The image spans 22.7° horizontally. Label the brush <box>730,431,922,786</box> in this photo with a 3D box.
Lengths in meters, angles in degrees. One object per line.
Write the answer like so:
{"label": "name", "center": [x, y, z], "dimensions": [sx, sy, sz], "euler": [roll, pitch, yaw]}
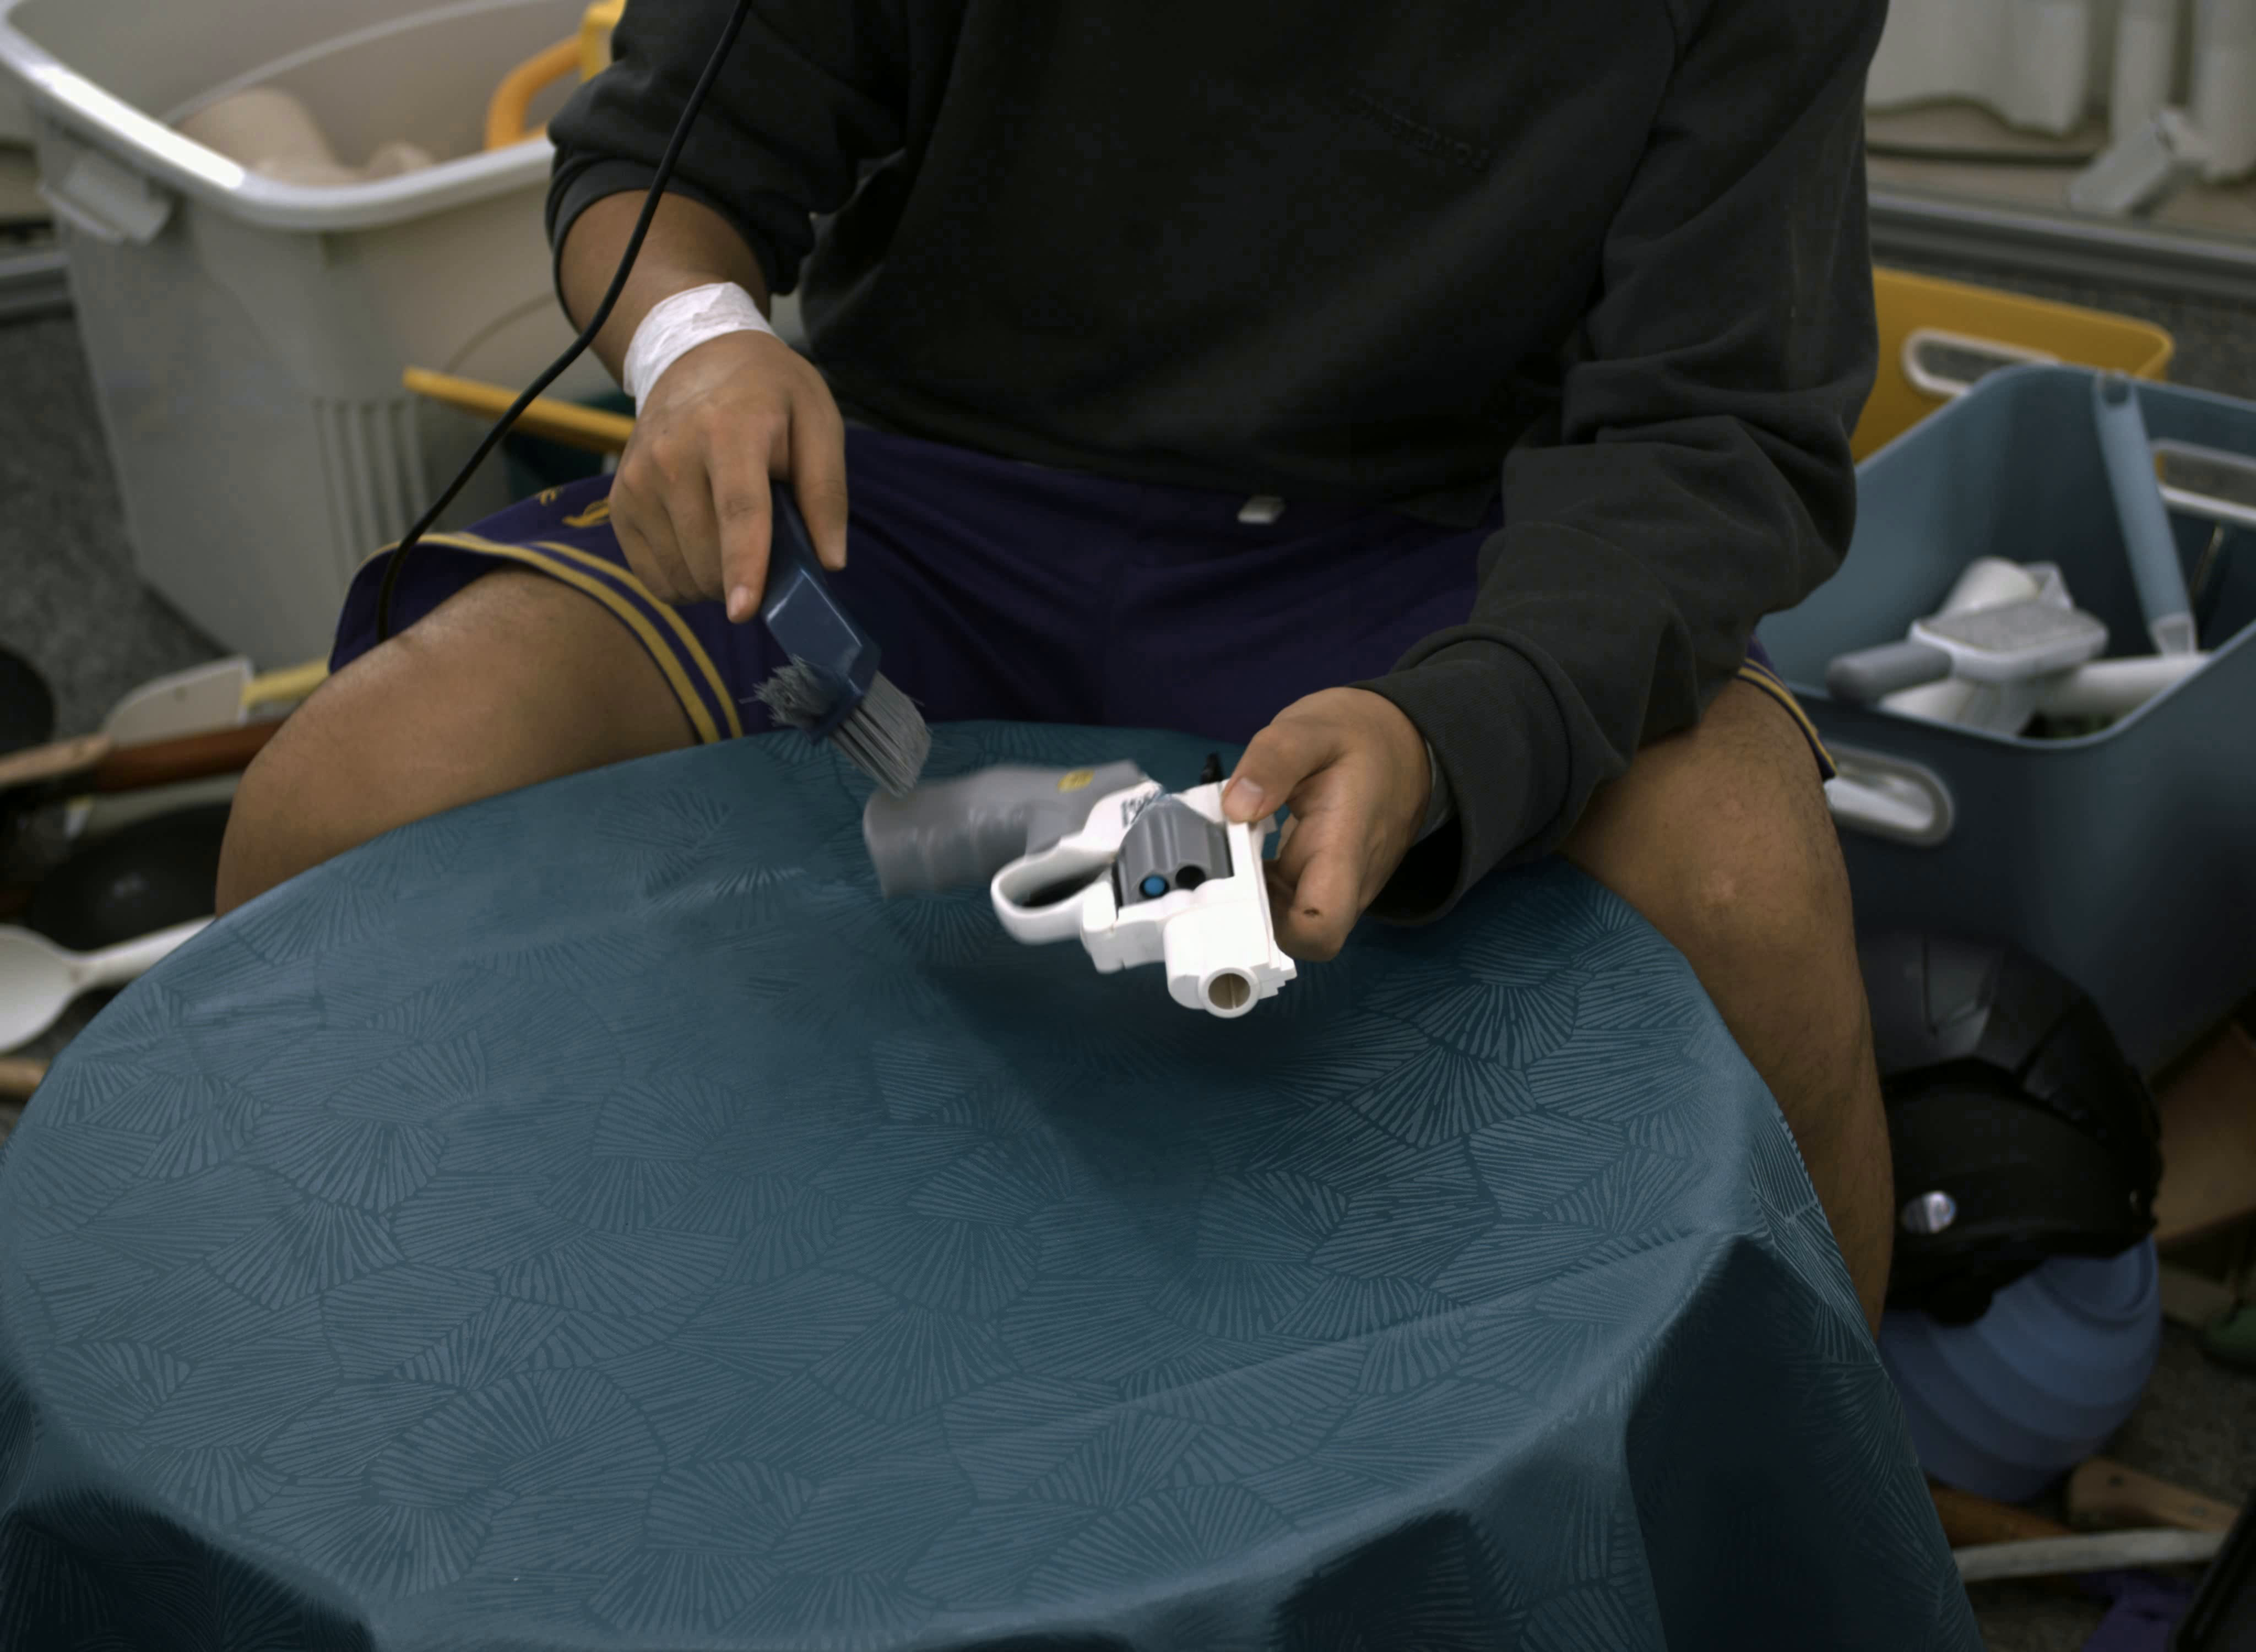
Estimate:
{"label": "brush", "center": [-0.124, -0.089, 2.012], "dimensions": [0.095, 0.033, 0.276], "euler": [36, 13, -29]}

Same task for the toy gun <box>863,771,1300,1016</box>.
{"label": "toy gun", "center": [-0.017, 0.025, 1.903], "dimensions": [0.141, 0.038, 0.211], "euler": [-18, 23, 3]}
